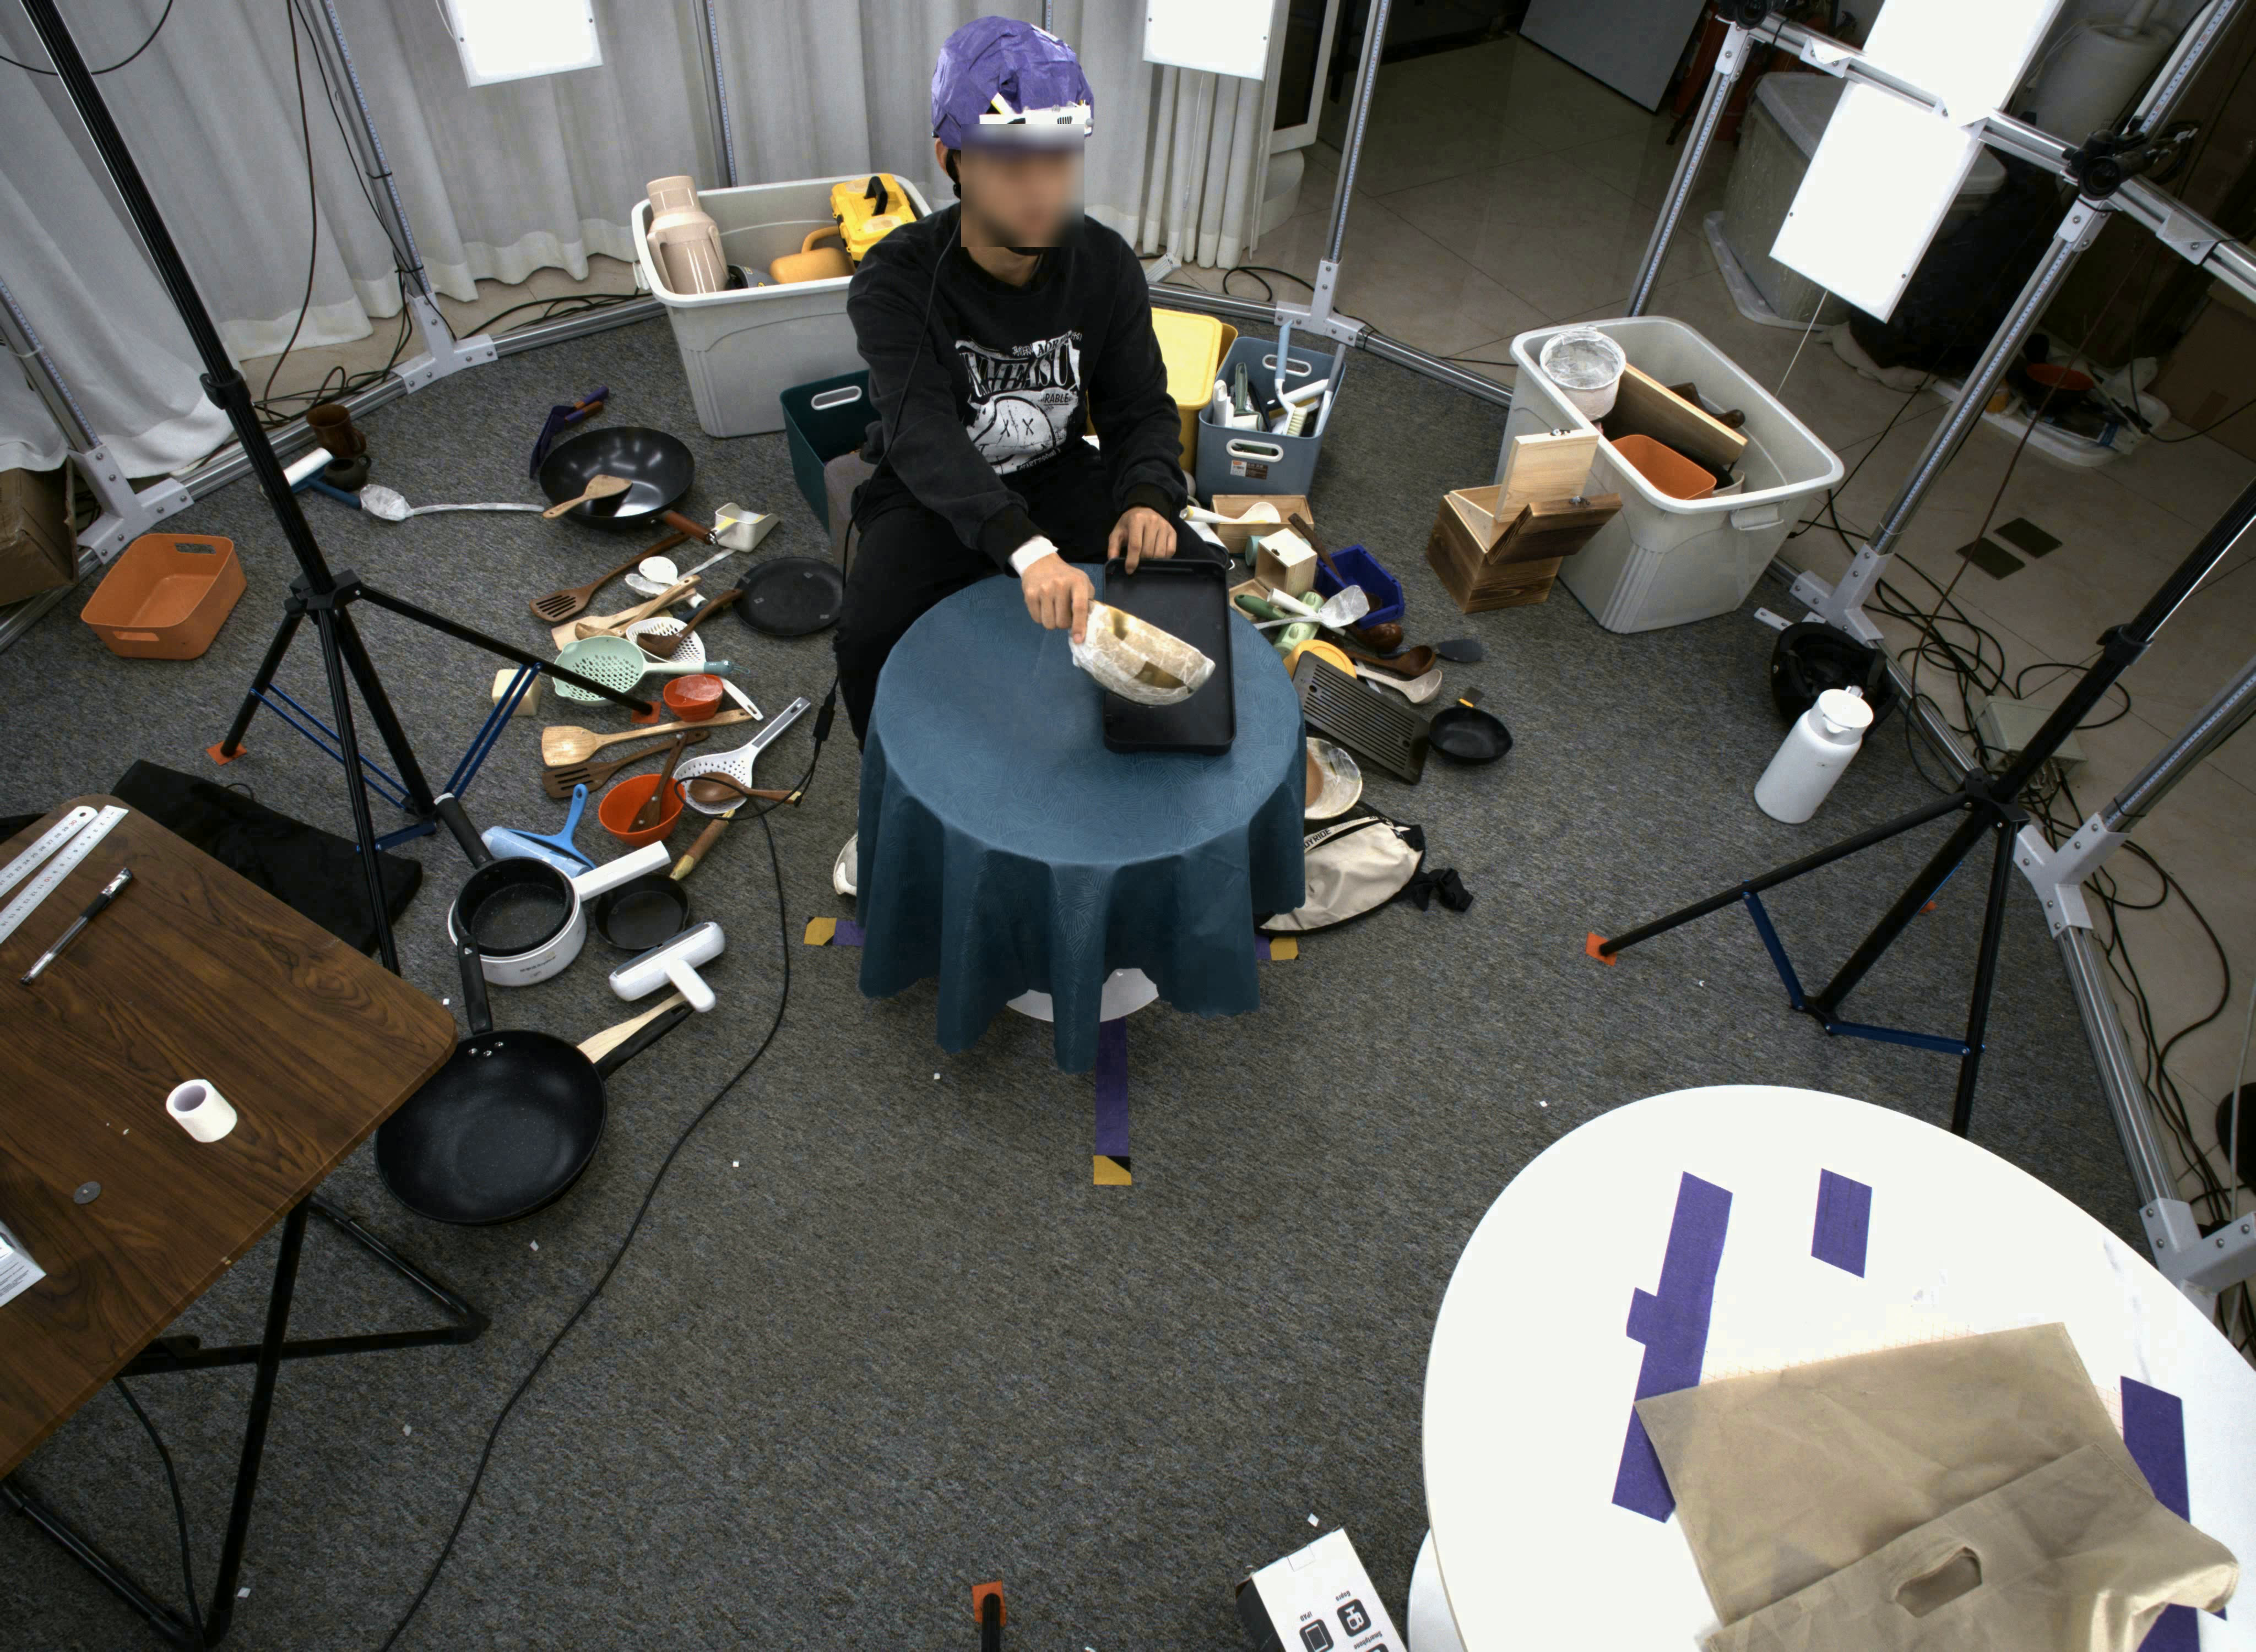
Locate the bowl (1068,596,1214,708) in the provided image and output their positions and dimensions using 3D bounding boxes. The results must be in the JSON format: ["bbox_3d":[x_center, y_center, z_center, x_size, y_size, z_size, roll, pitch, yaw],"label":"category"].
[{"bbox_3d":[0.002,-0.213,1.679,0.216,0.213,0.094,26,93,17],"label":"bowl"}]

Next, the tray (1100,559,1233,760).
[{"bbox_3d":[0.055,-0.242,1.839,0.184,0.036,0.325,3,61,-3],"label":"tray"}]
